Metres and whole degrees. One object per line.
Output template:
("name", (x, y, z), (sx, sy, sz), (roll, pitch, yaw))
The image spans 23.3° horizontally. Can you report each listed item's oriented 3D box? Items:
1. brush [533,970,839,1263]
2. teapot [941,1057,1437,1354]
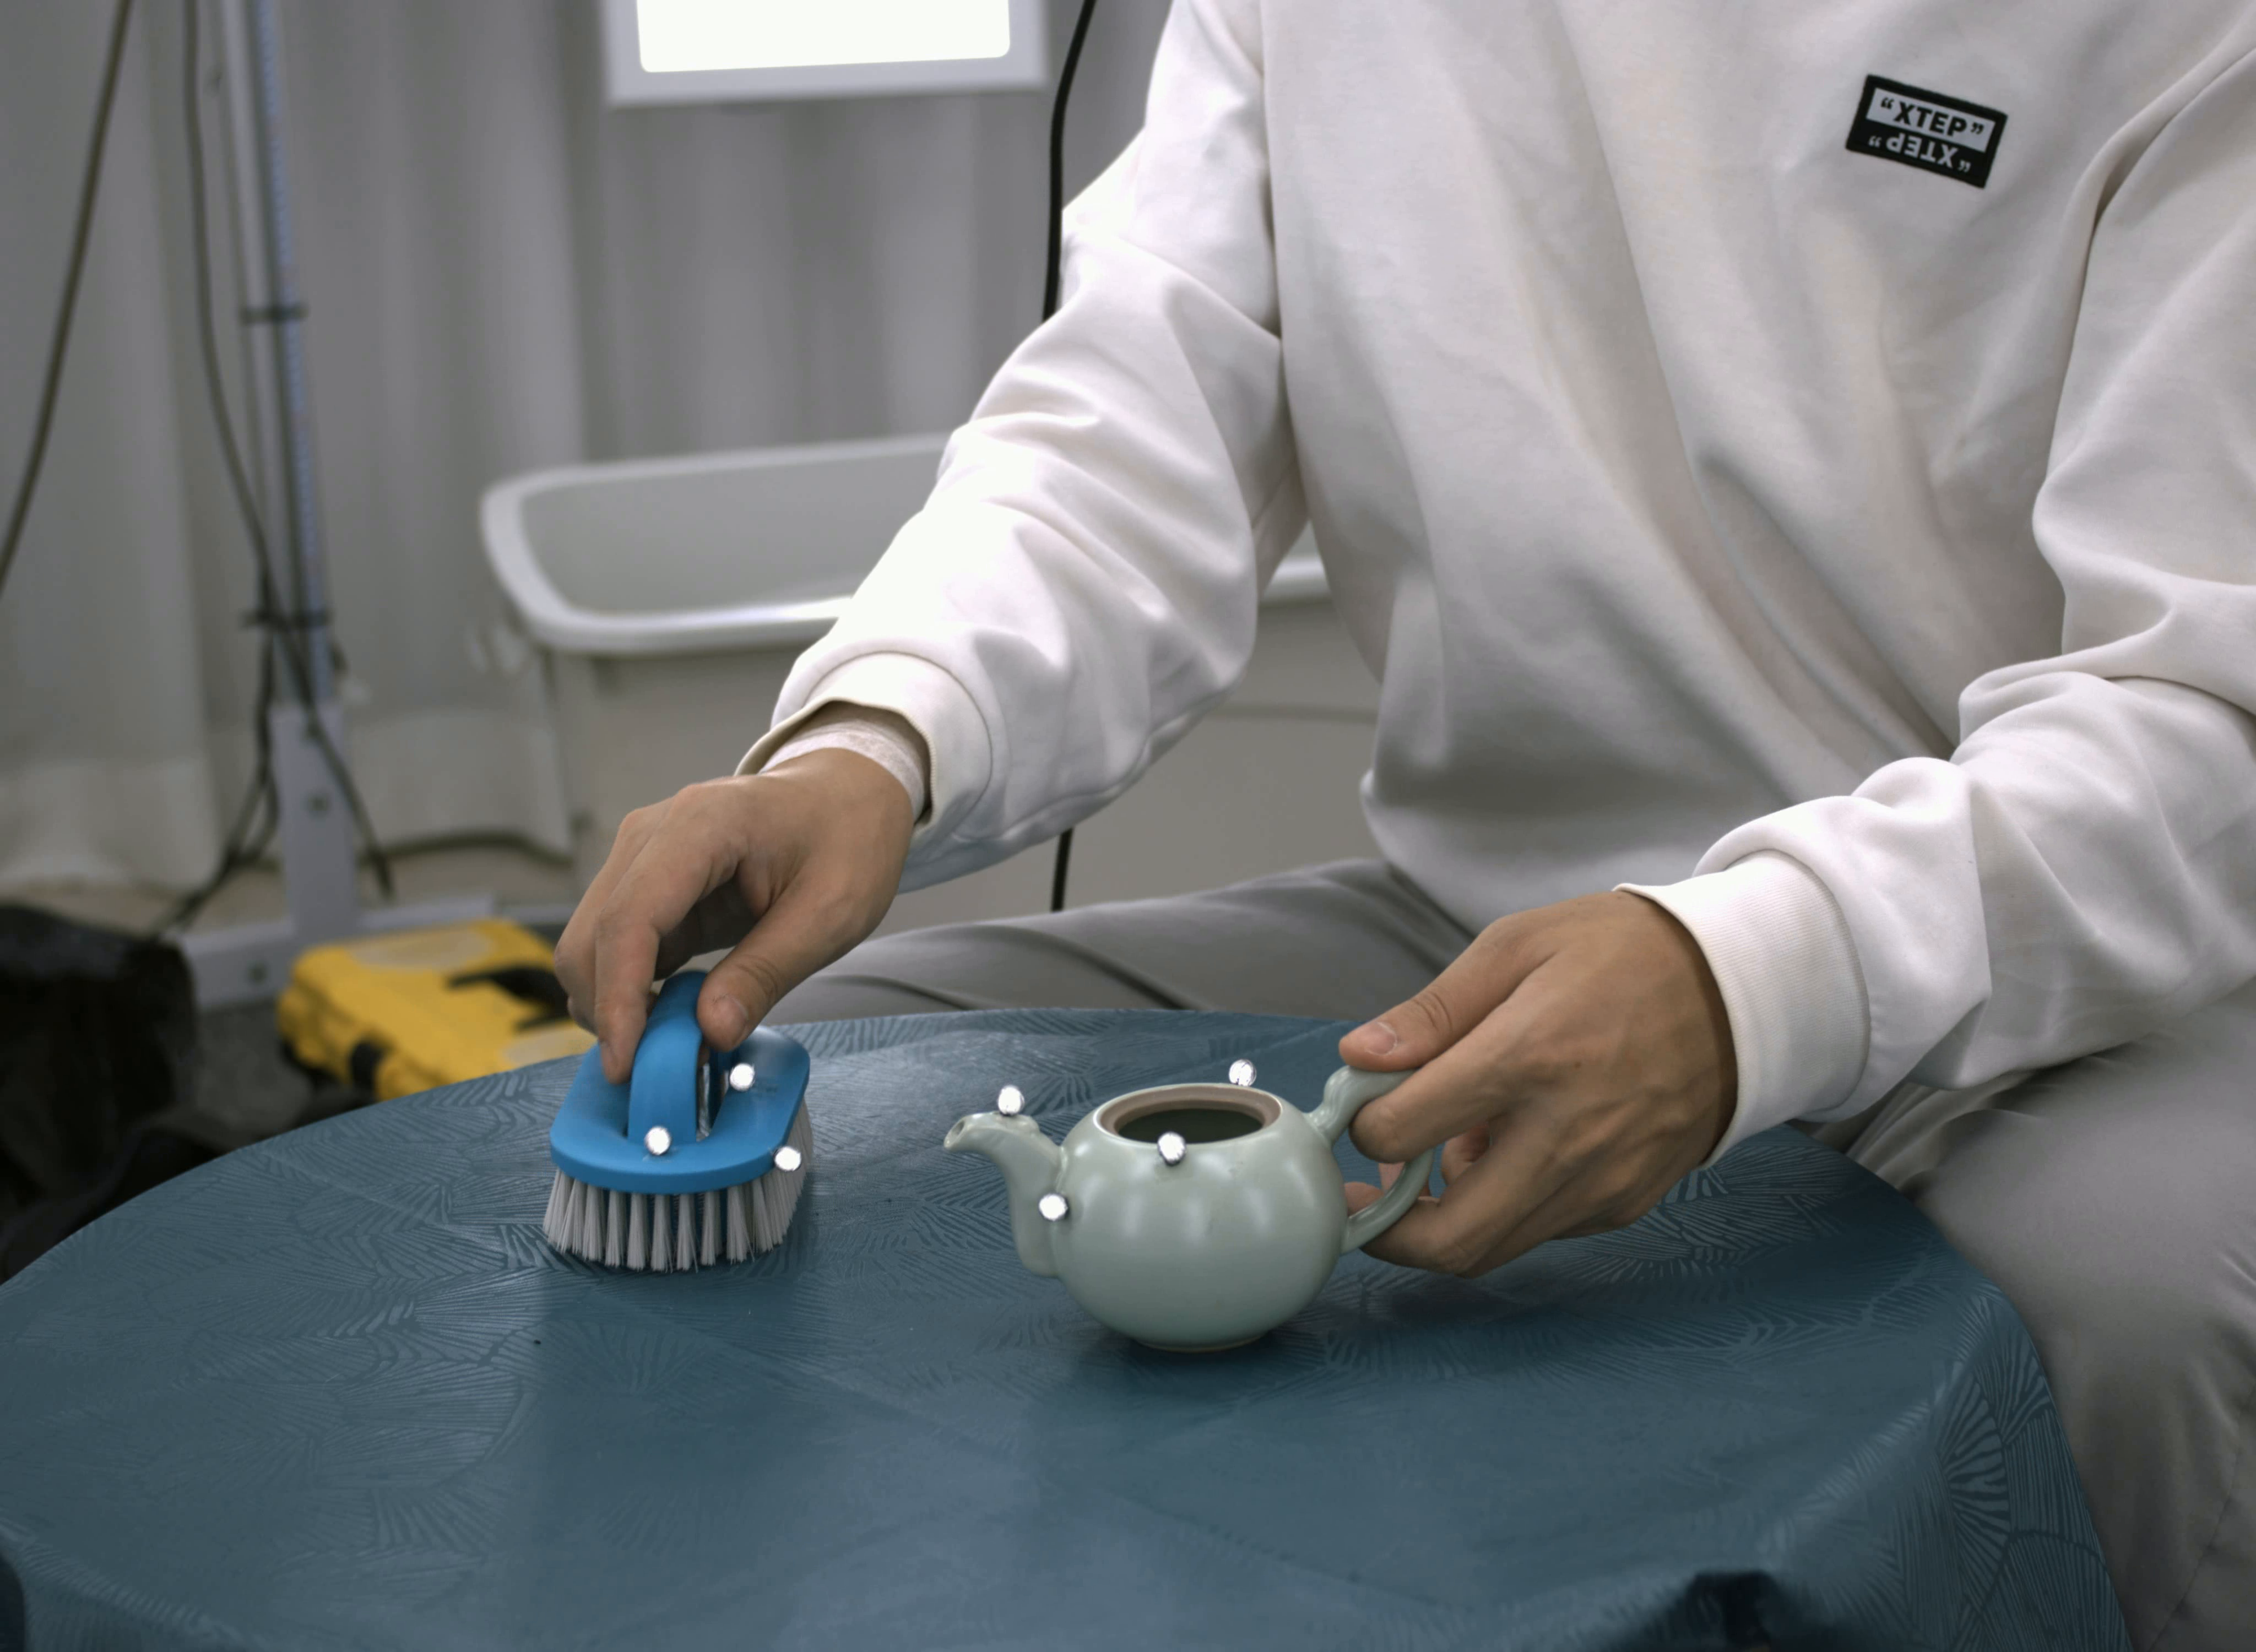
("brush", (-0.140, 0.085, 1.717), (0.084, 0.063, 0.143), (-3, 16, 7))
("teapot", (0.020, 0.111, 1.586), (0.143, 0.074, 0.089), (-8, 14, -4))
